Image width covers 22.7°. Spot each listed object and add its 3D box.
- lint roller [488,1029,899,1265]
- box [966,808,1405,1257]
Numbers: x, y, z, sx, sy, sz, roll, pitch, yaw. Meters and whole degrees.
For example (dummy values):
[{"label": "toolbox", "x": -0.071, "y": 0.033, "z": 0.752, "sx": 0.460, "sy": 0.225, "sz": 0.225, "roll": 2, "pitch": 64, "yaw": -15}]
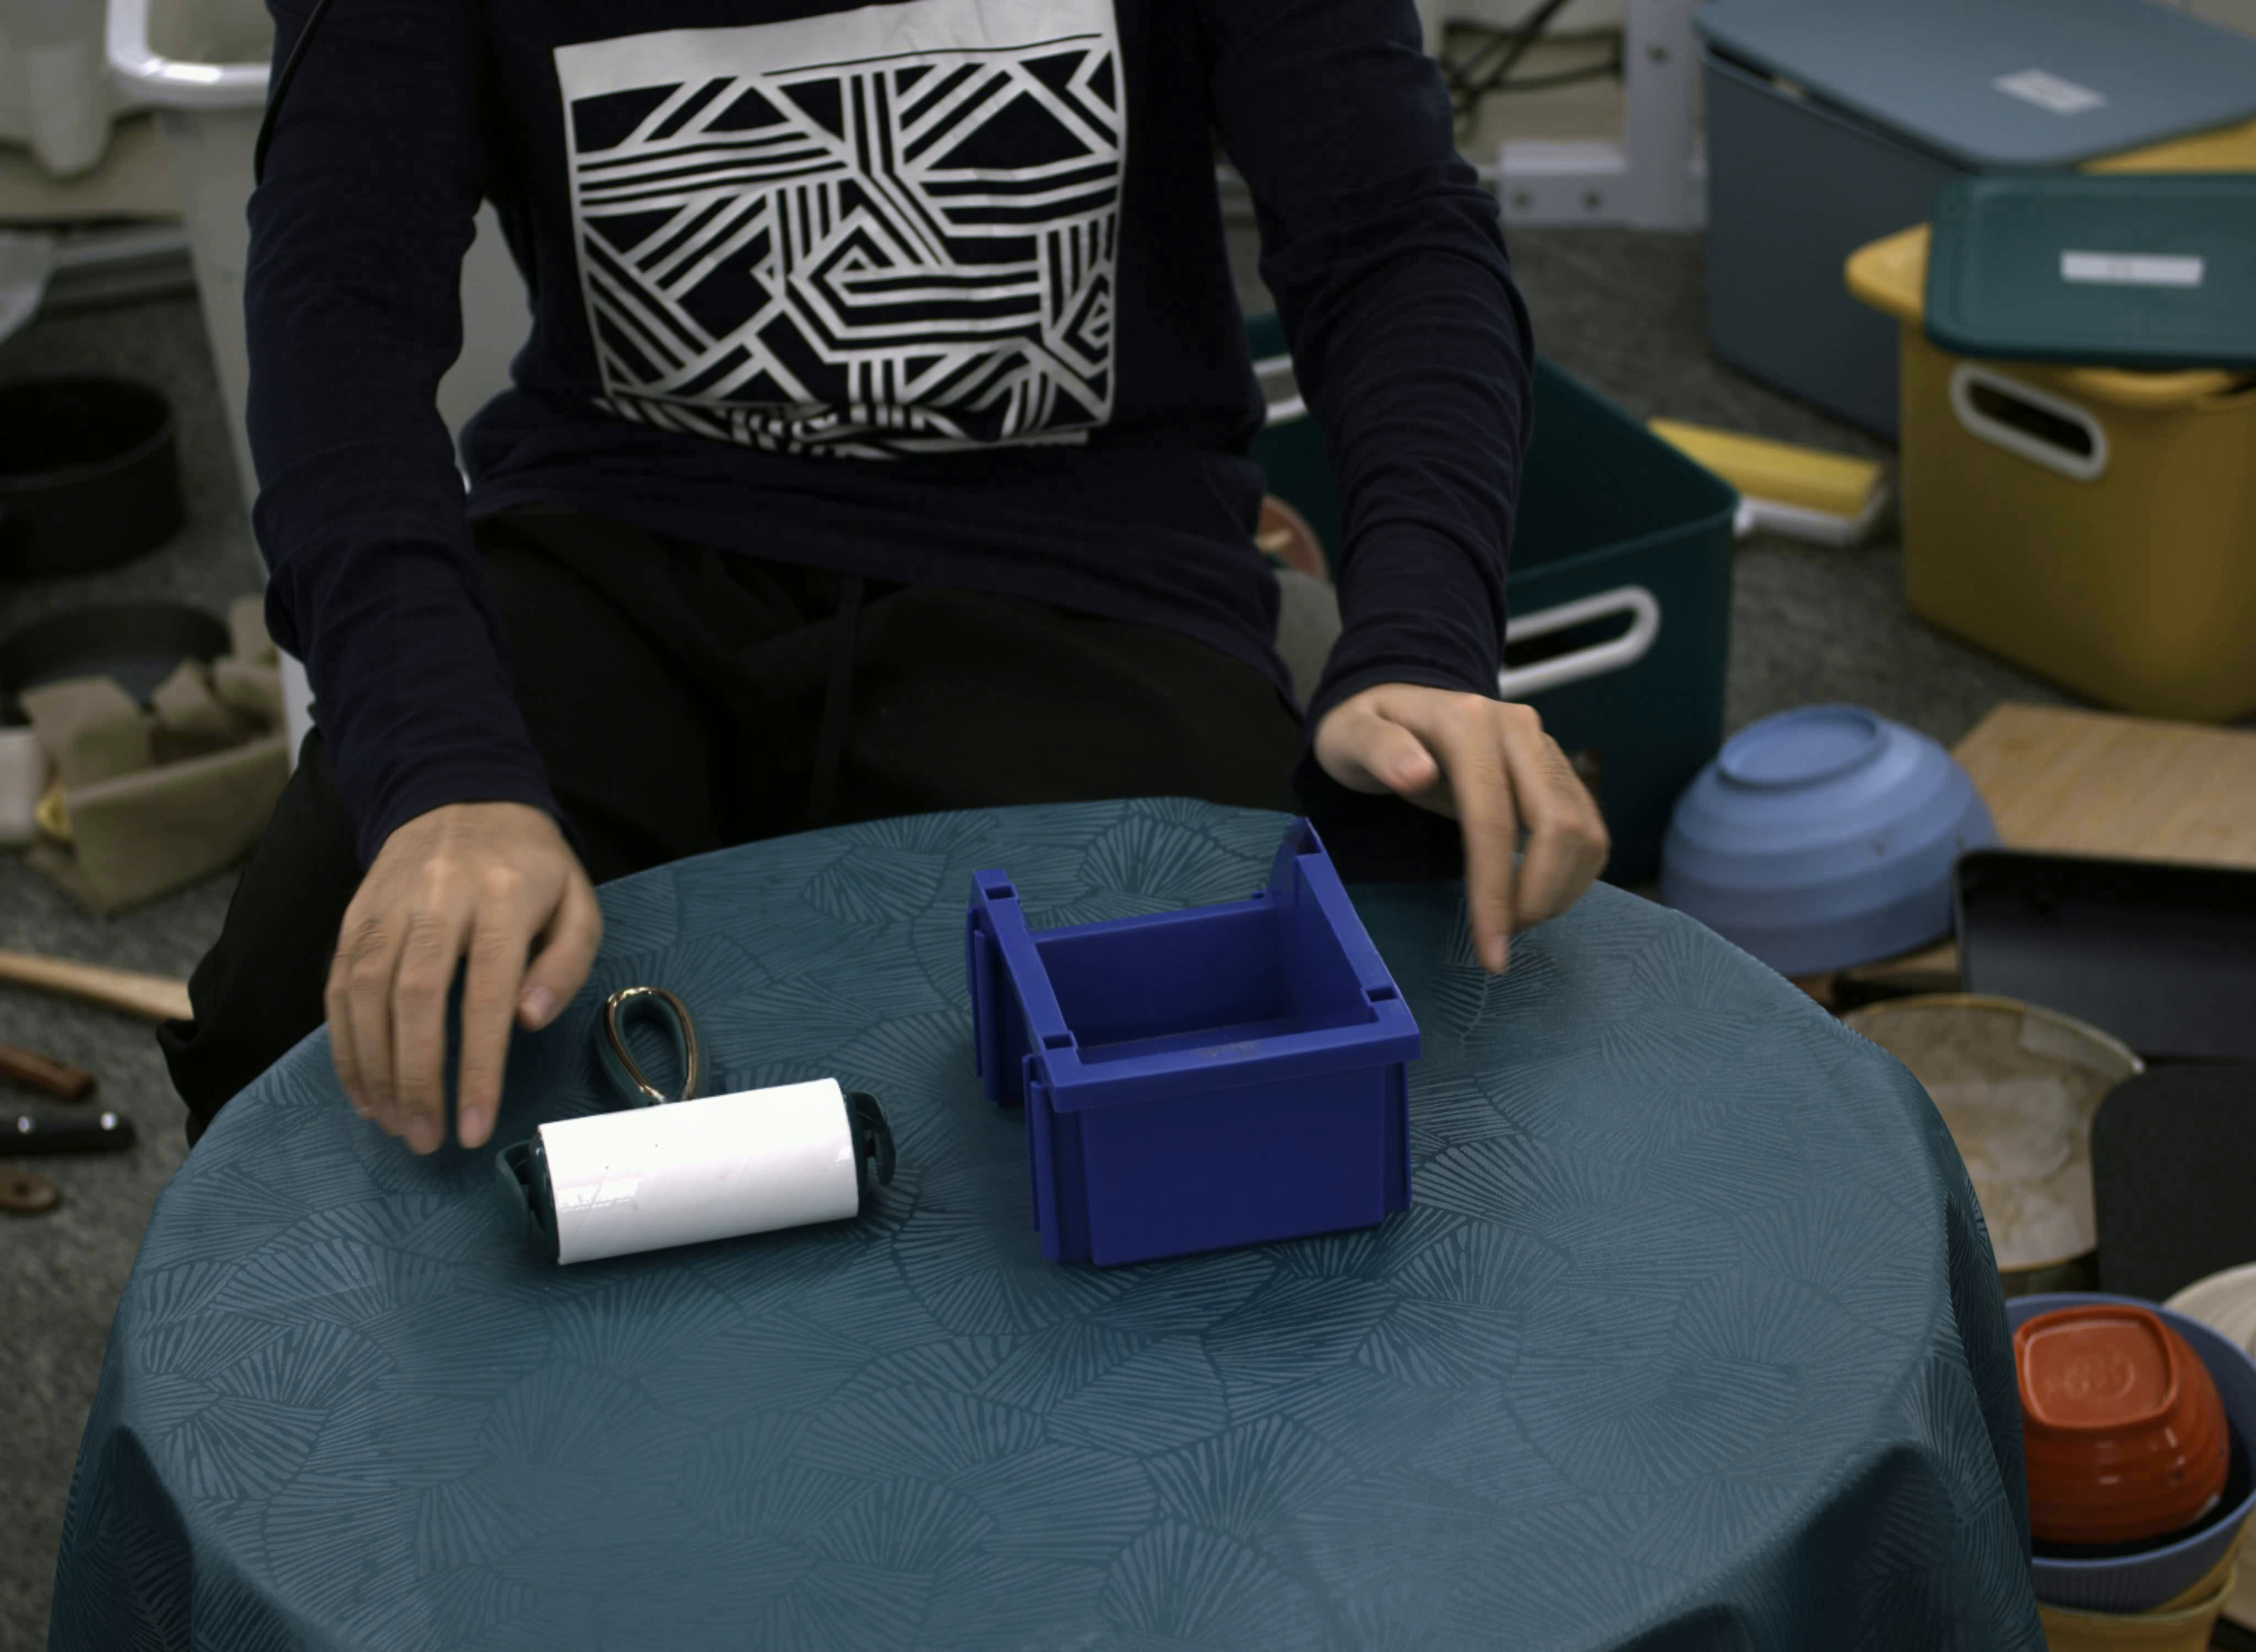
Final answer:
[{"label": "lint roller", "x": -0.157, "y": 0.088, "z": 1.901, "sx": 0.134, "sy": 0.048, "sz": 0.182, "roll": -9, "pitch": 23, "yaw": -10}, {"label": "box", "x": 0.015, "y": 0.064, "z": 1.883, "sx": 0.124, "sy": 0.081, "sz": 0.182, "roll": -8, "pitch": 30, "yaw": -7}]
